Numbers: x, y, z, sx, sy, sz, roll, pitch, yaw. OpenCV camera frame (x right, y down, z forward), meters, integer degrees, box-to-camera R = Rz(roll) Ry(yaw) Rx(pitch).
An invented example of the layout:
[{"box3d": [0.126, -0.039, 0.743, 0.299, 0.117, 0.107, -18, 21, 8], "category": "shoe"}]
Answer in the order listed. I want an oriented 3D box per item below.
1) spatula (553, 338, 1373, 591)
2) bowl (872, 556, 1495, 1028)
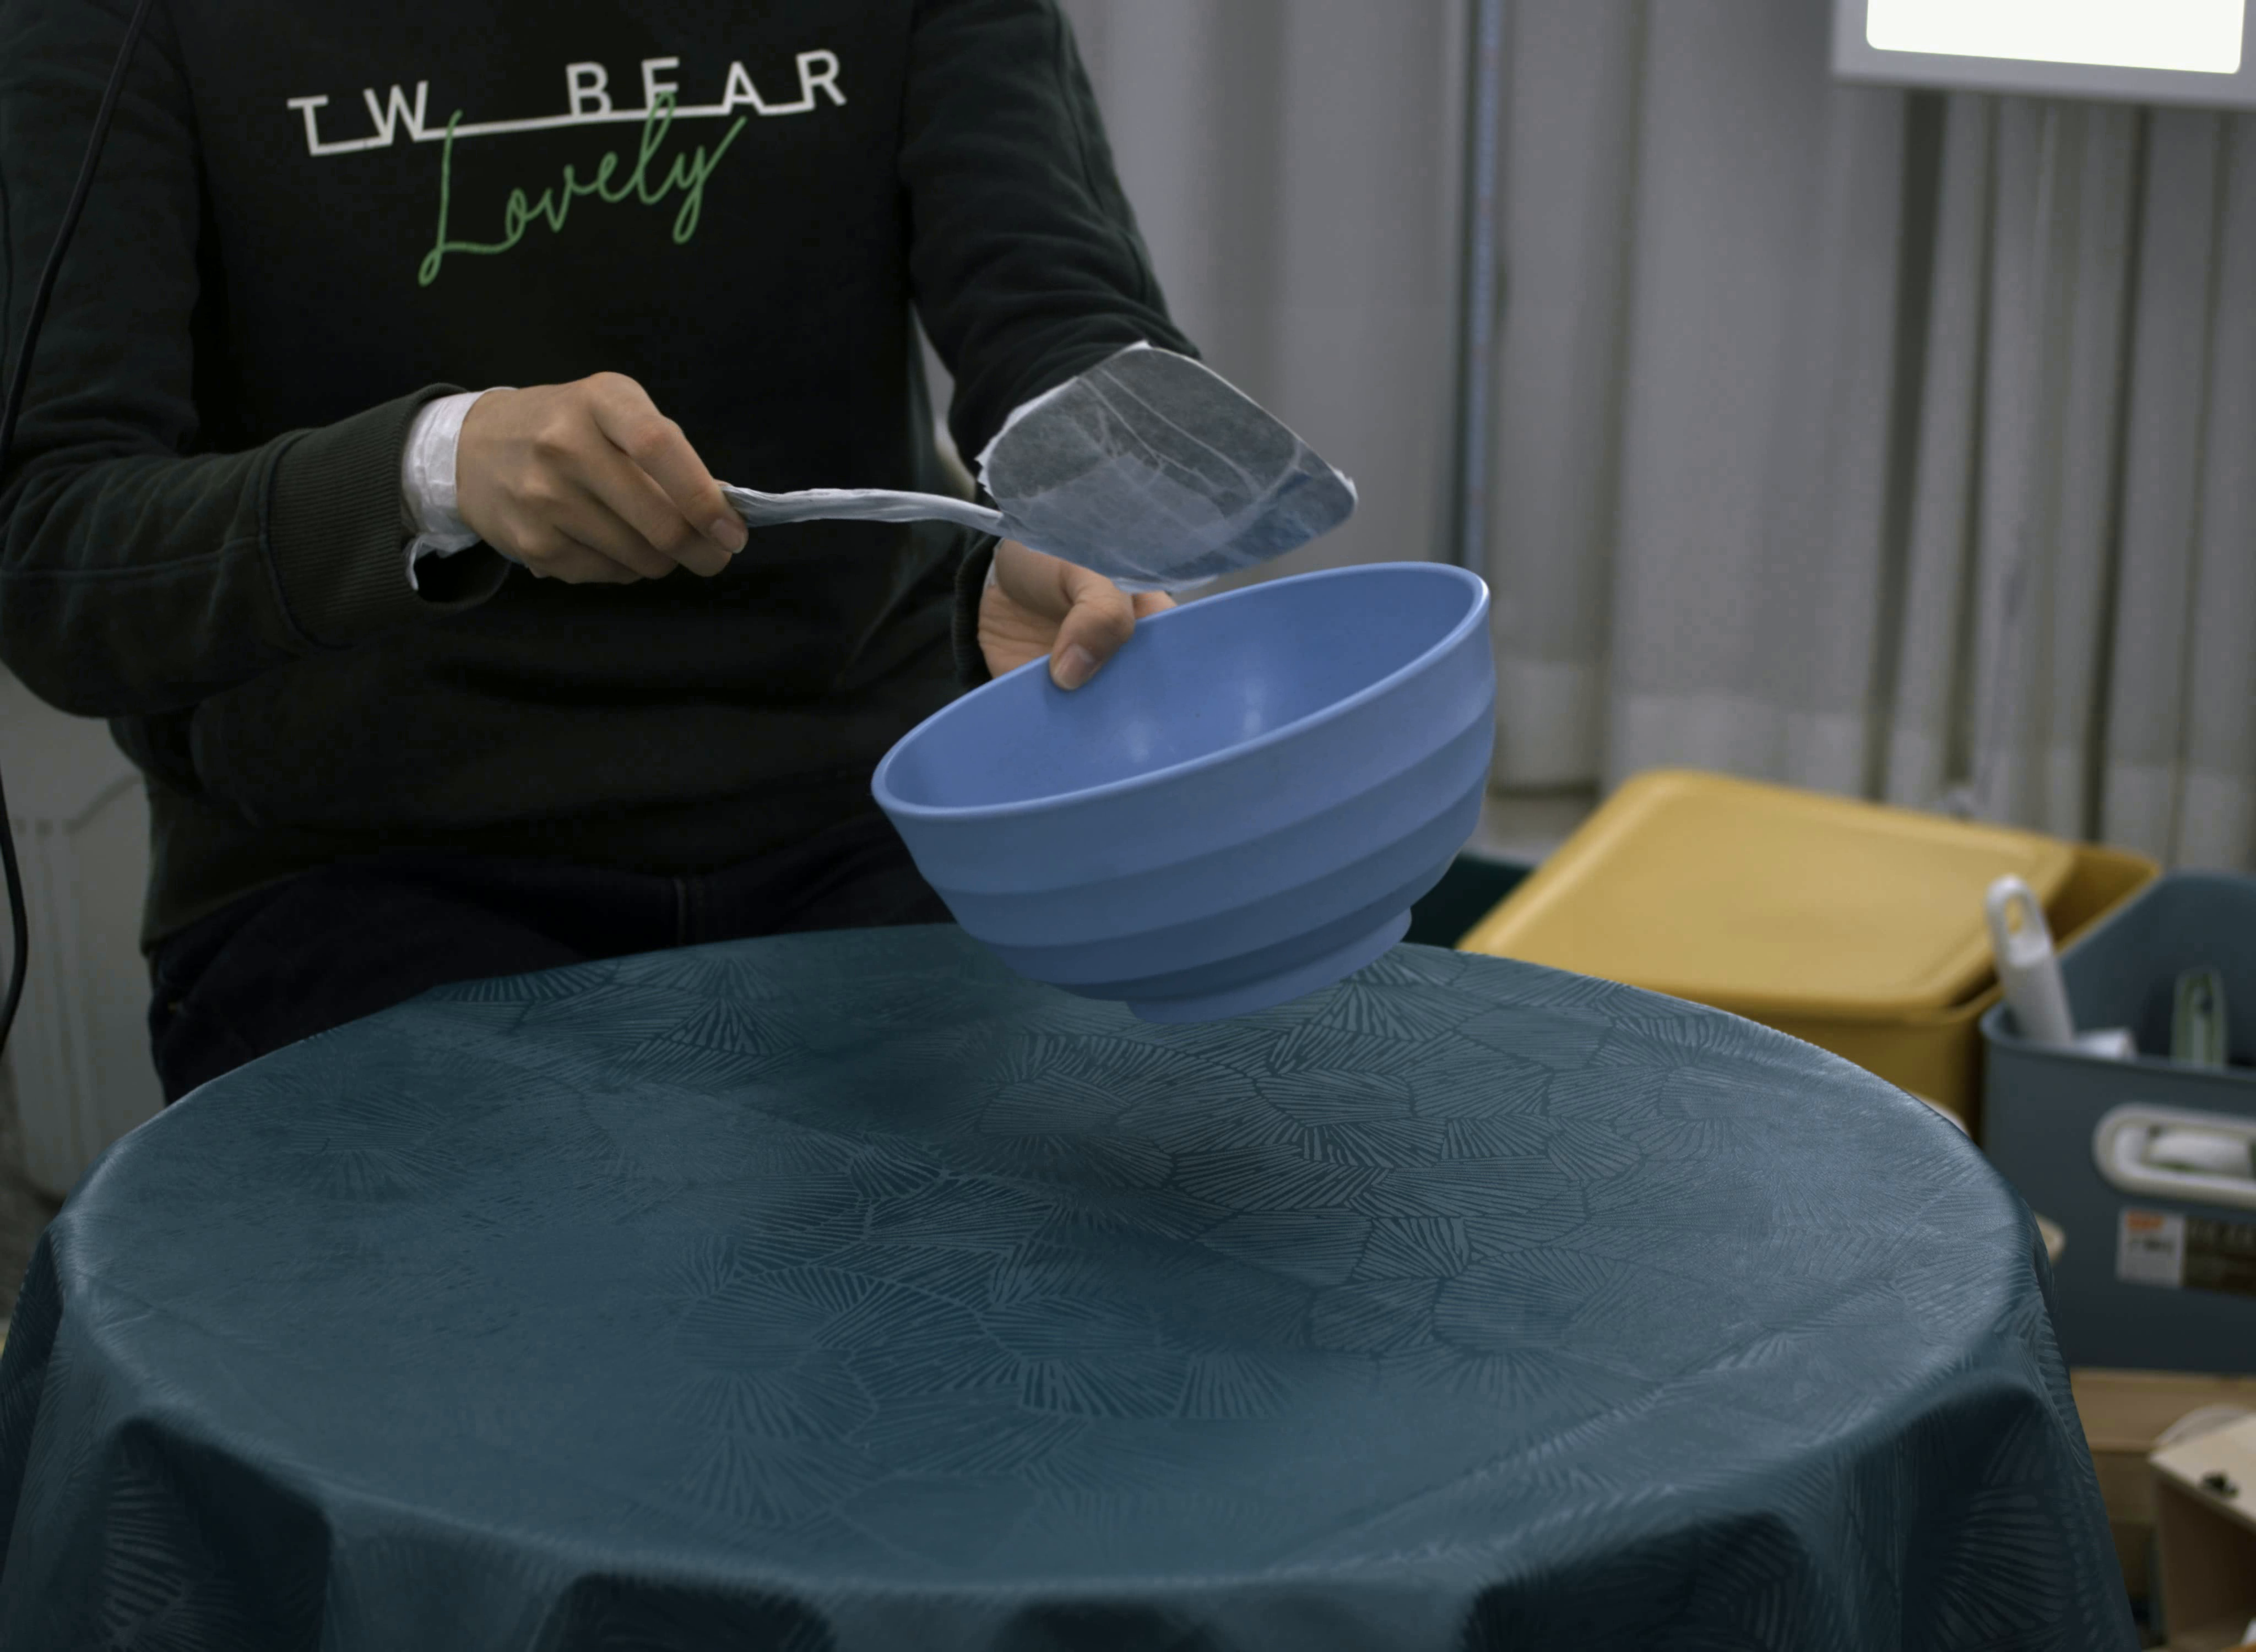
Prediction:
[{"box3d": [-0.074, -0.101, 1.640, 0.100, 0.045, 0.361, 34, -21, -35], "category": "spatula"}, {"box3d": [0.029, -0.001, 1.604, 0.196, 0.096, 0.195, -18, 17, 6], "category": "bowl"}]
